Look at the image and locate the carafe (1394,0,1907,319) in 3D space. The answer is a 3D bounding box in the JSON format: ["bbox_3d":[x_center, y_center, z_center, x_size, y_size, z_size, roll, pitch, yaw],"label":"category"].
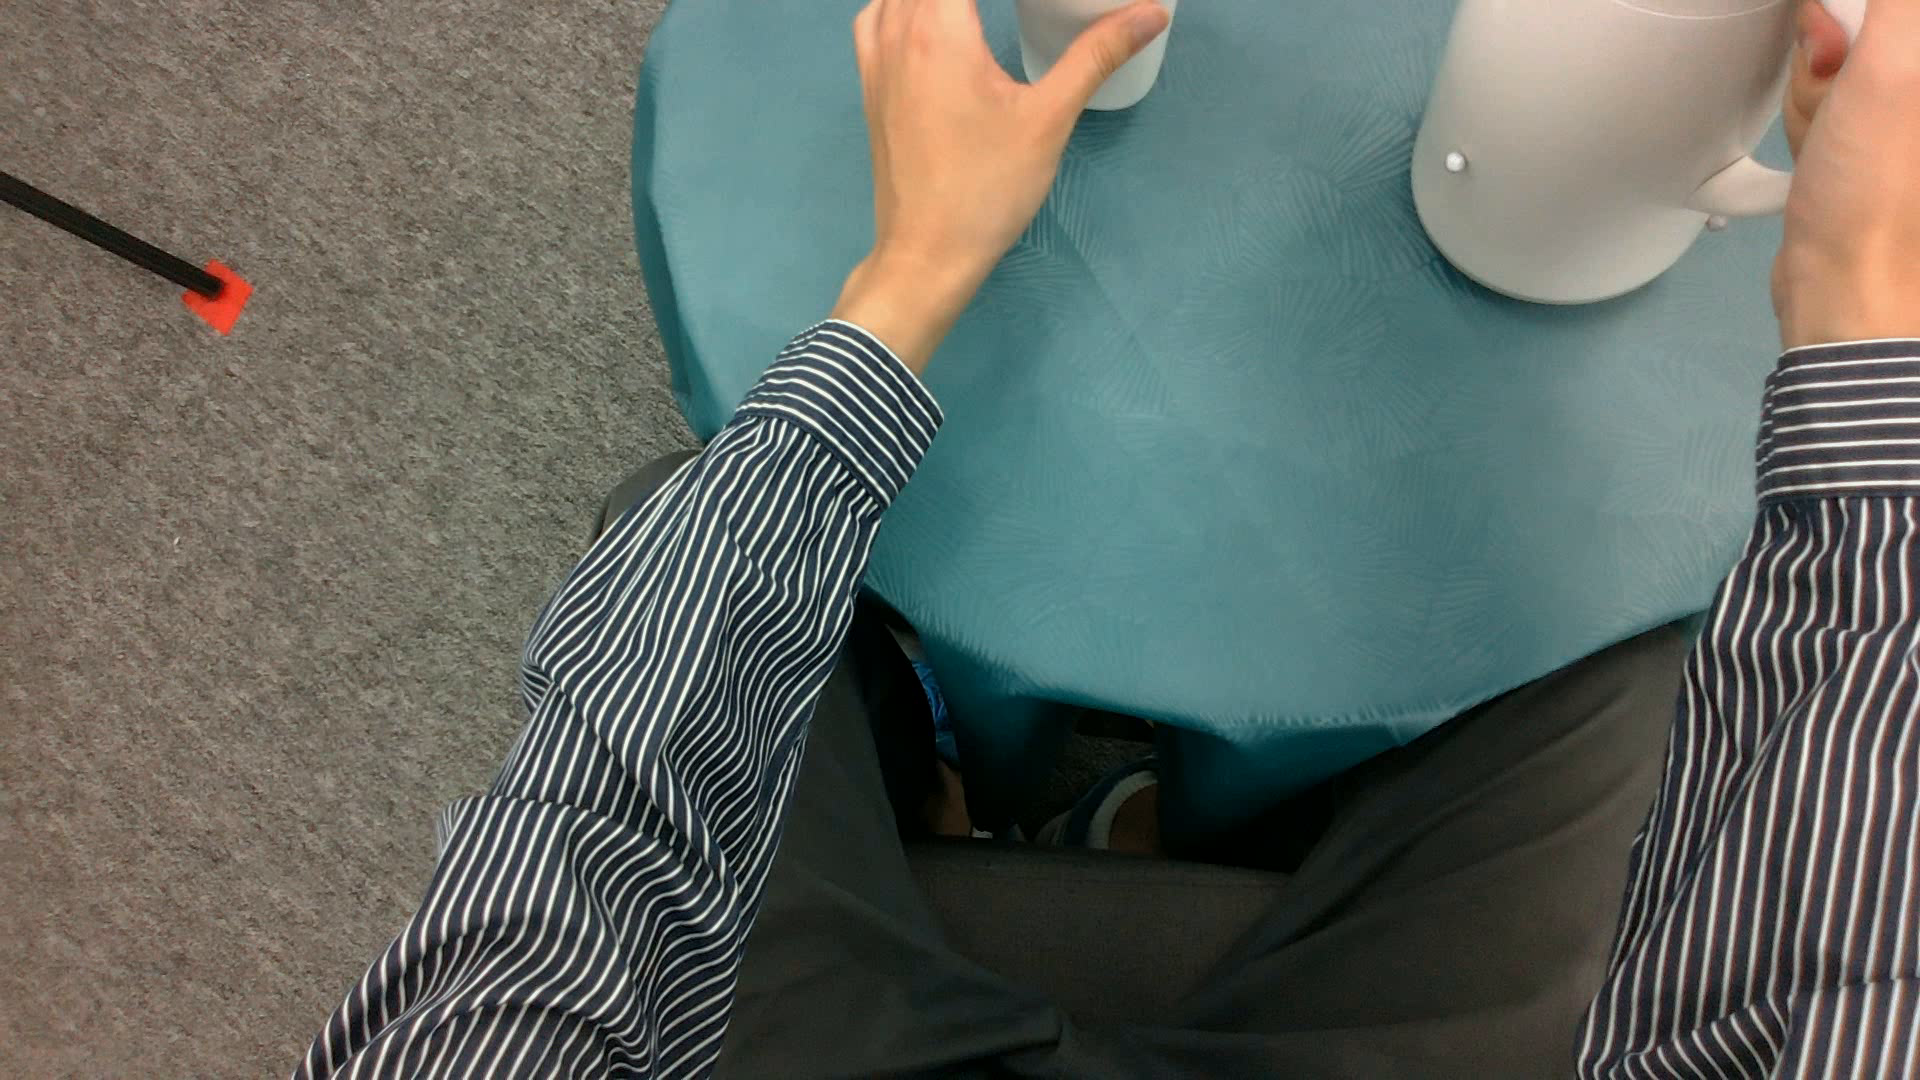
[{"bbox_3d":[0.262,-0.190,0.525,0.132,0.248,0.168,-39,69,-5],"label":"carafe"}]

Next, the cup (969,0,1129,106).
[{"bbox_3d":[0.040,-0.251,0.607,0.081,0.125,0.082,-1,82,4],"label":"cup"}]
